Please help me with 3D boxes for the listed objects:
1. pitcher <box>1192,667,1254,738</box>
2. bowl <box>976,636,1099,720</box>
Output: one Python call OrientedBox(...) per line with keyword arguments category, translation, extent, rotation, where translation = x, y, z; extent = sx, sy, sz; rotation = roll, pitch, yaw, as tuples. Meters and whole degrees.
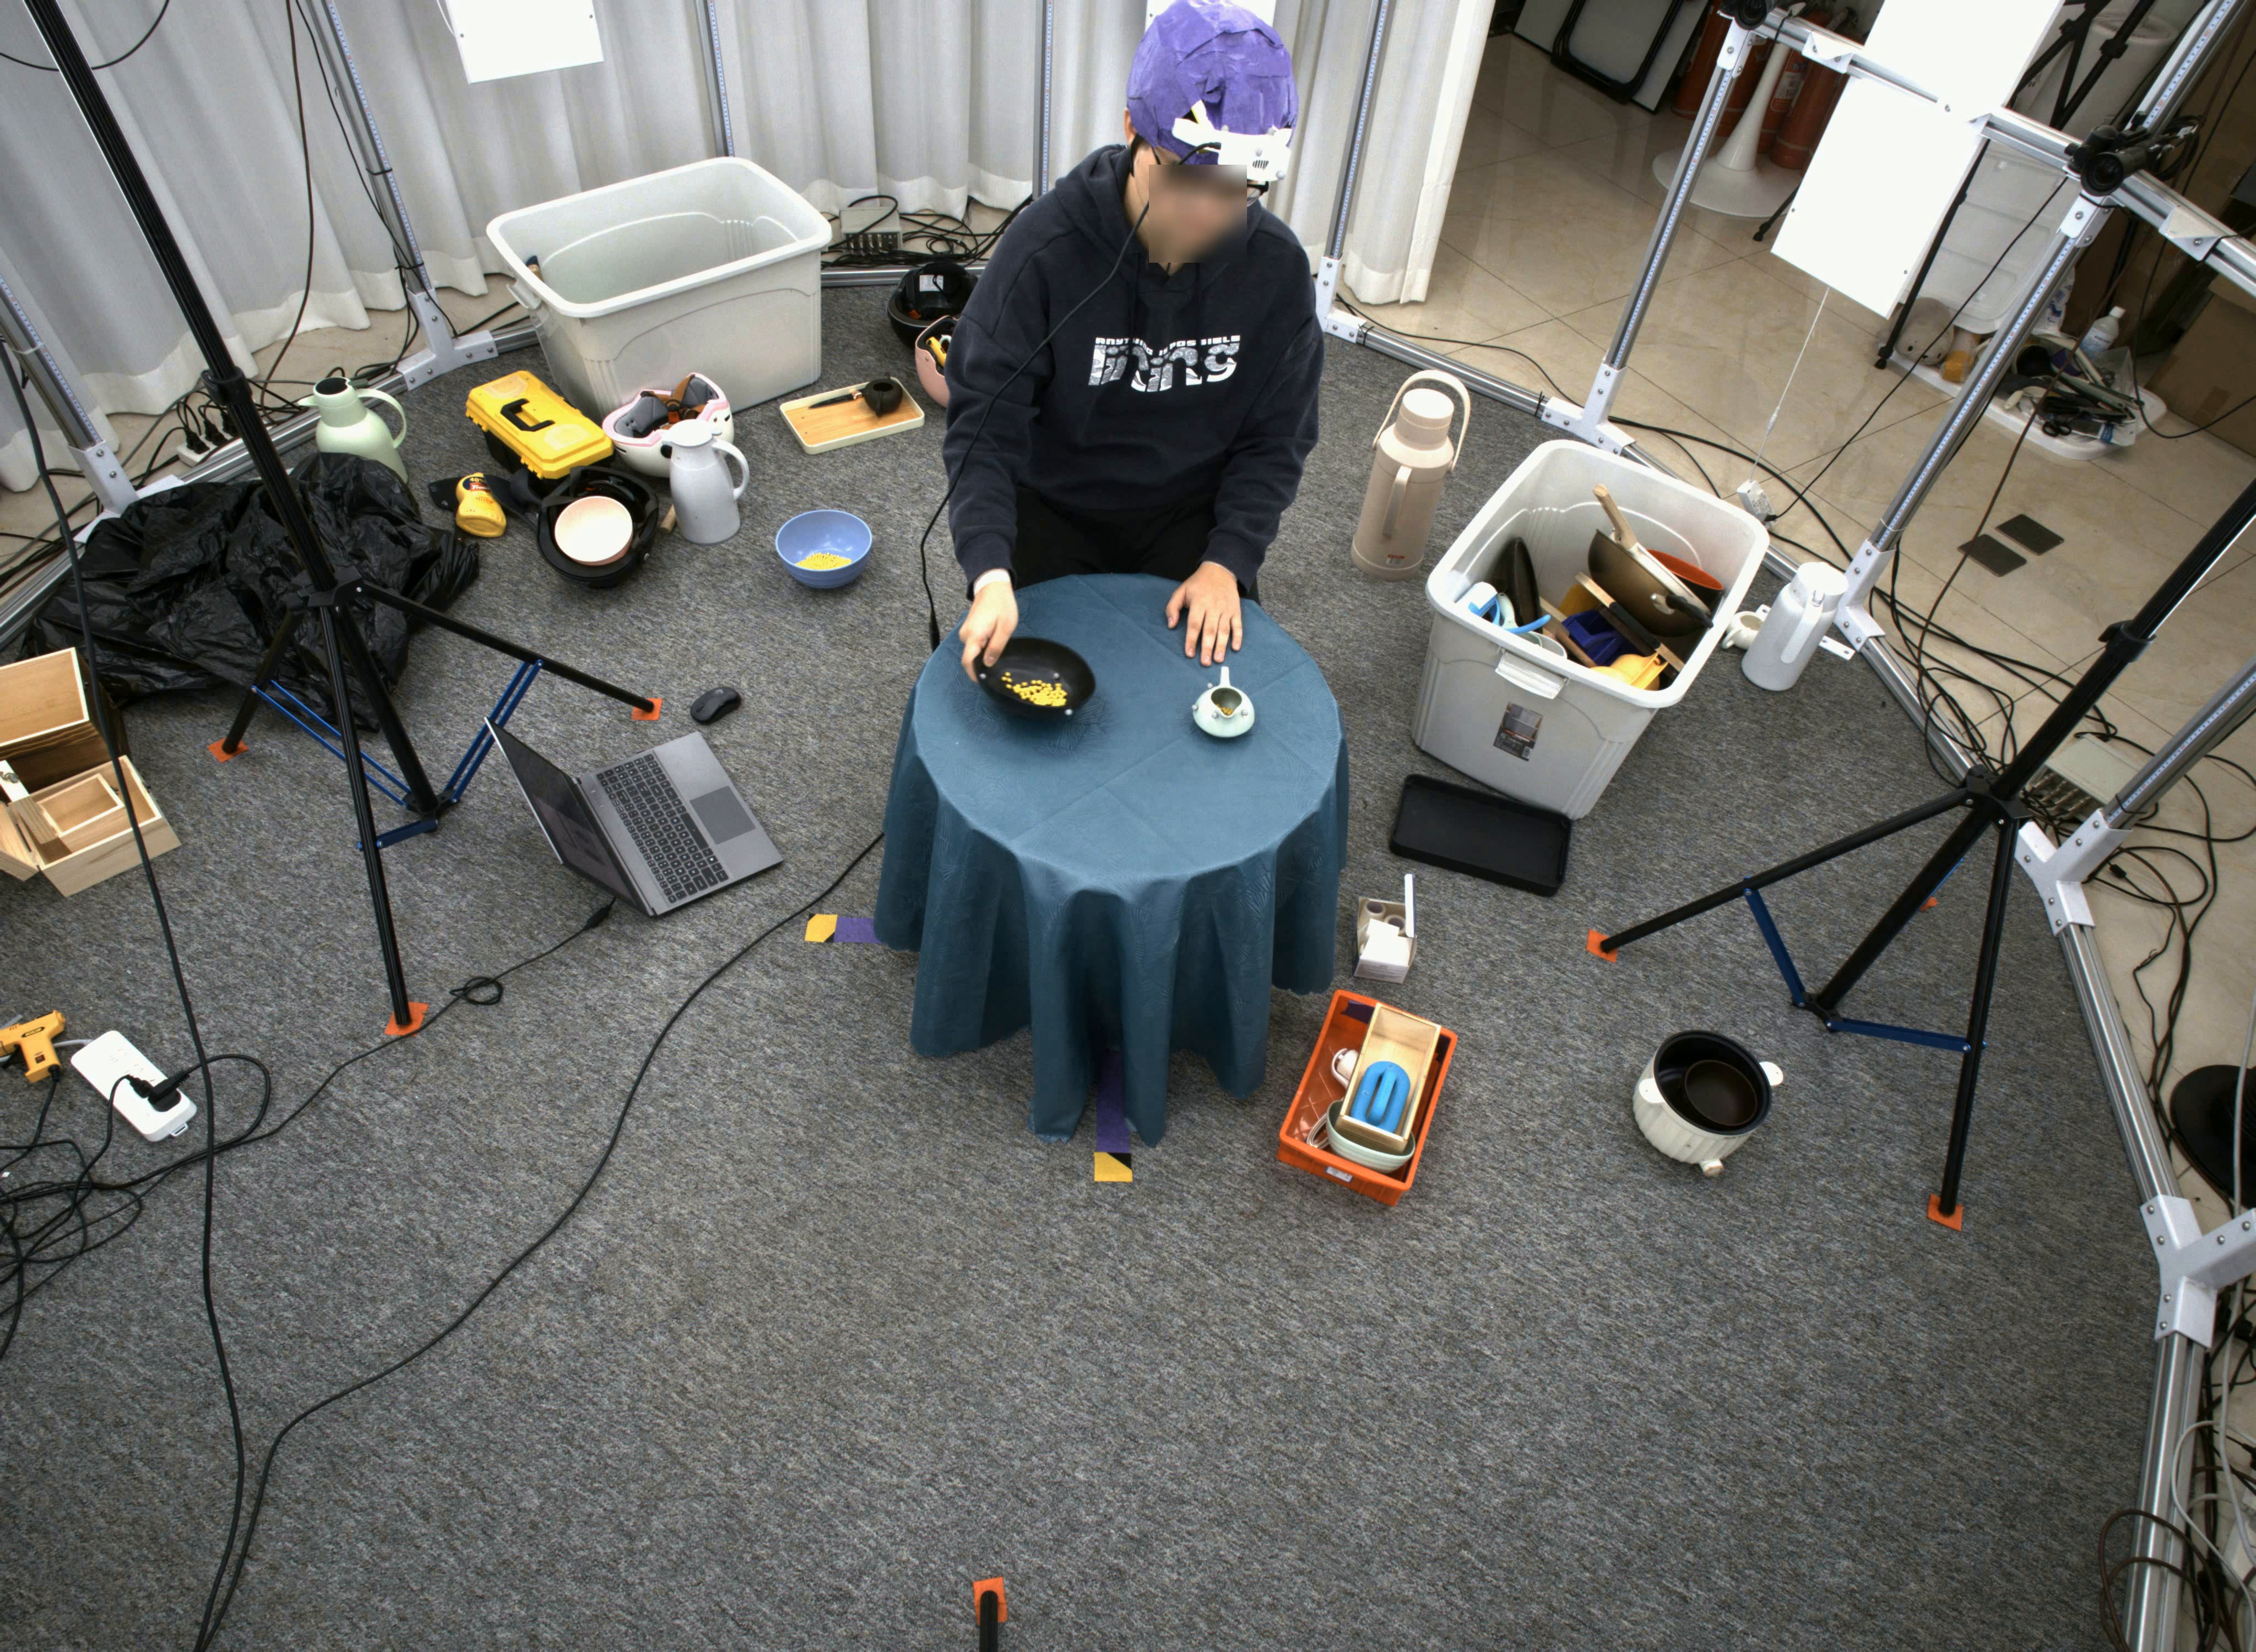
OrientedBox(category="pitcher", translation=(0.133, -0.171, 1.788), extent=(0.086, 0.059, 0.111), rotation=(2, 47, -4))
OrientedBox(category="bowl", translation=(-0.128, -0.193, 1.765), extent=(0.170, 0.065, 0.140), rotation=(14, 46, -3))
